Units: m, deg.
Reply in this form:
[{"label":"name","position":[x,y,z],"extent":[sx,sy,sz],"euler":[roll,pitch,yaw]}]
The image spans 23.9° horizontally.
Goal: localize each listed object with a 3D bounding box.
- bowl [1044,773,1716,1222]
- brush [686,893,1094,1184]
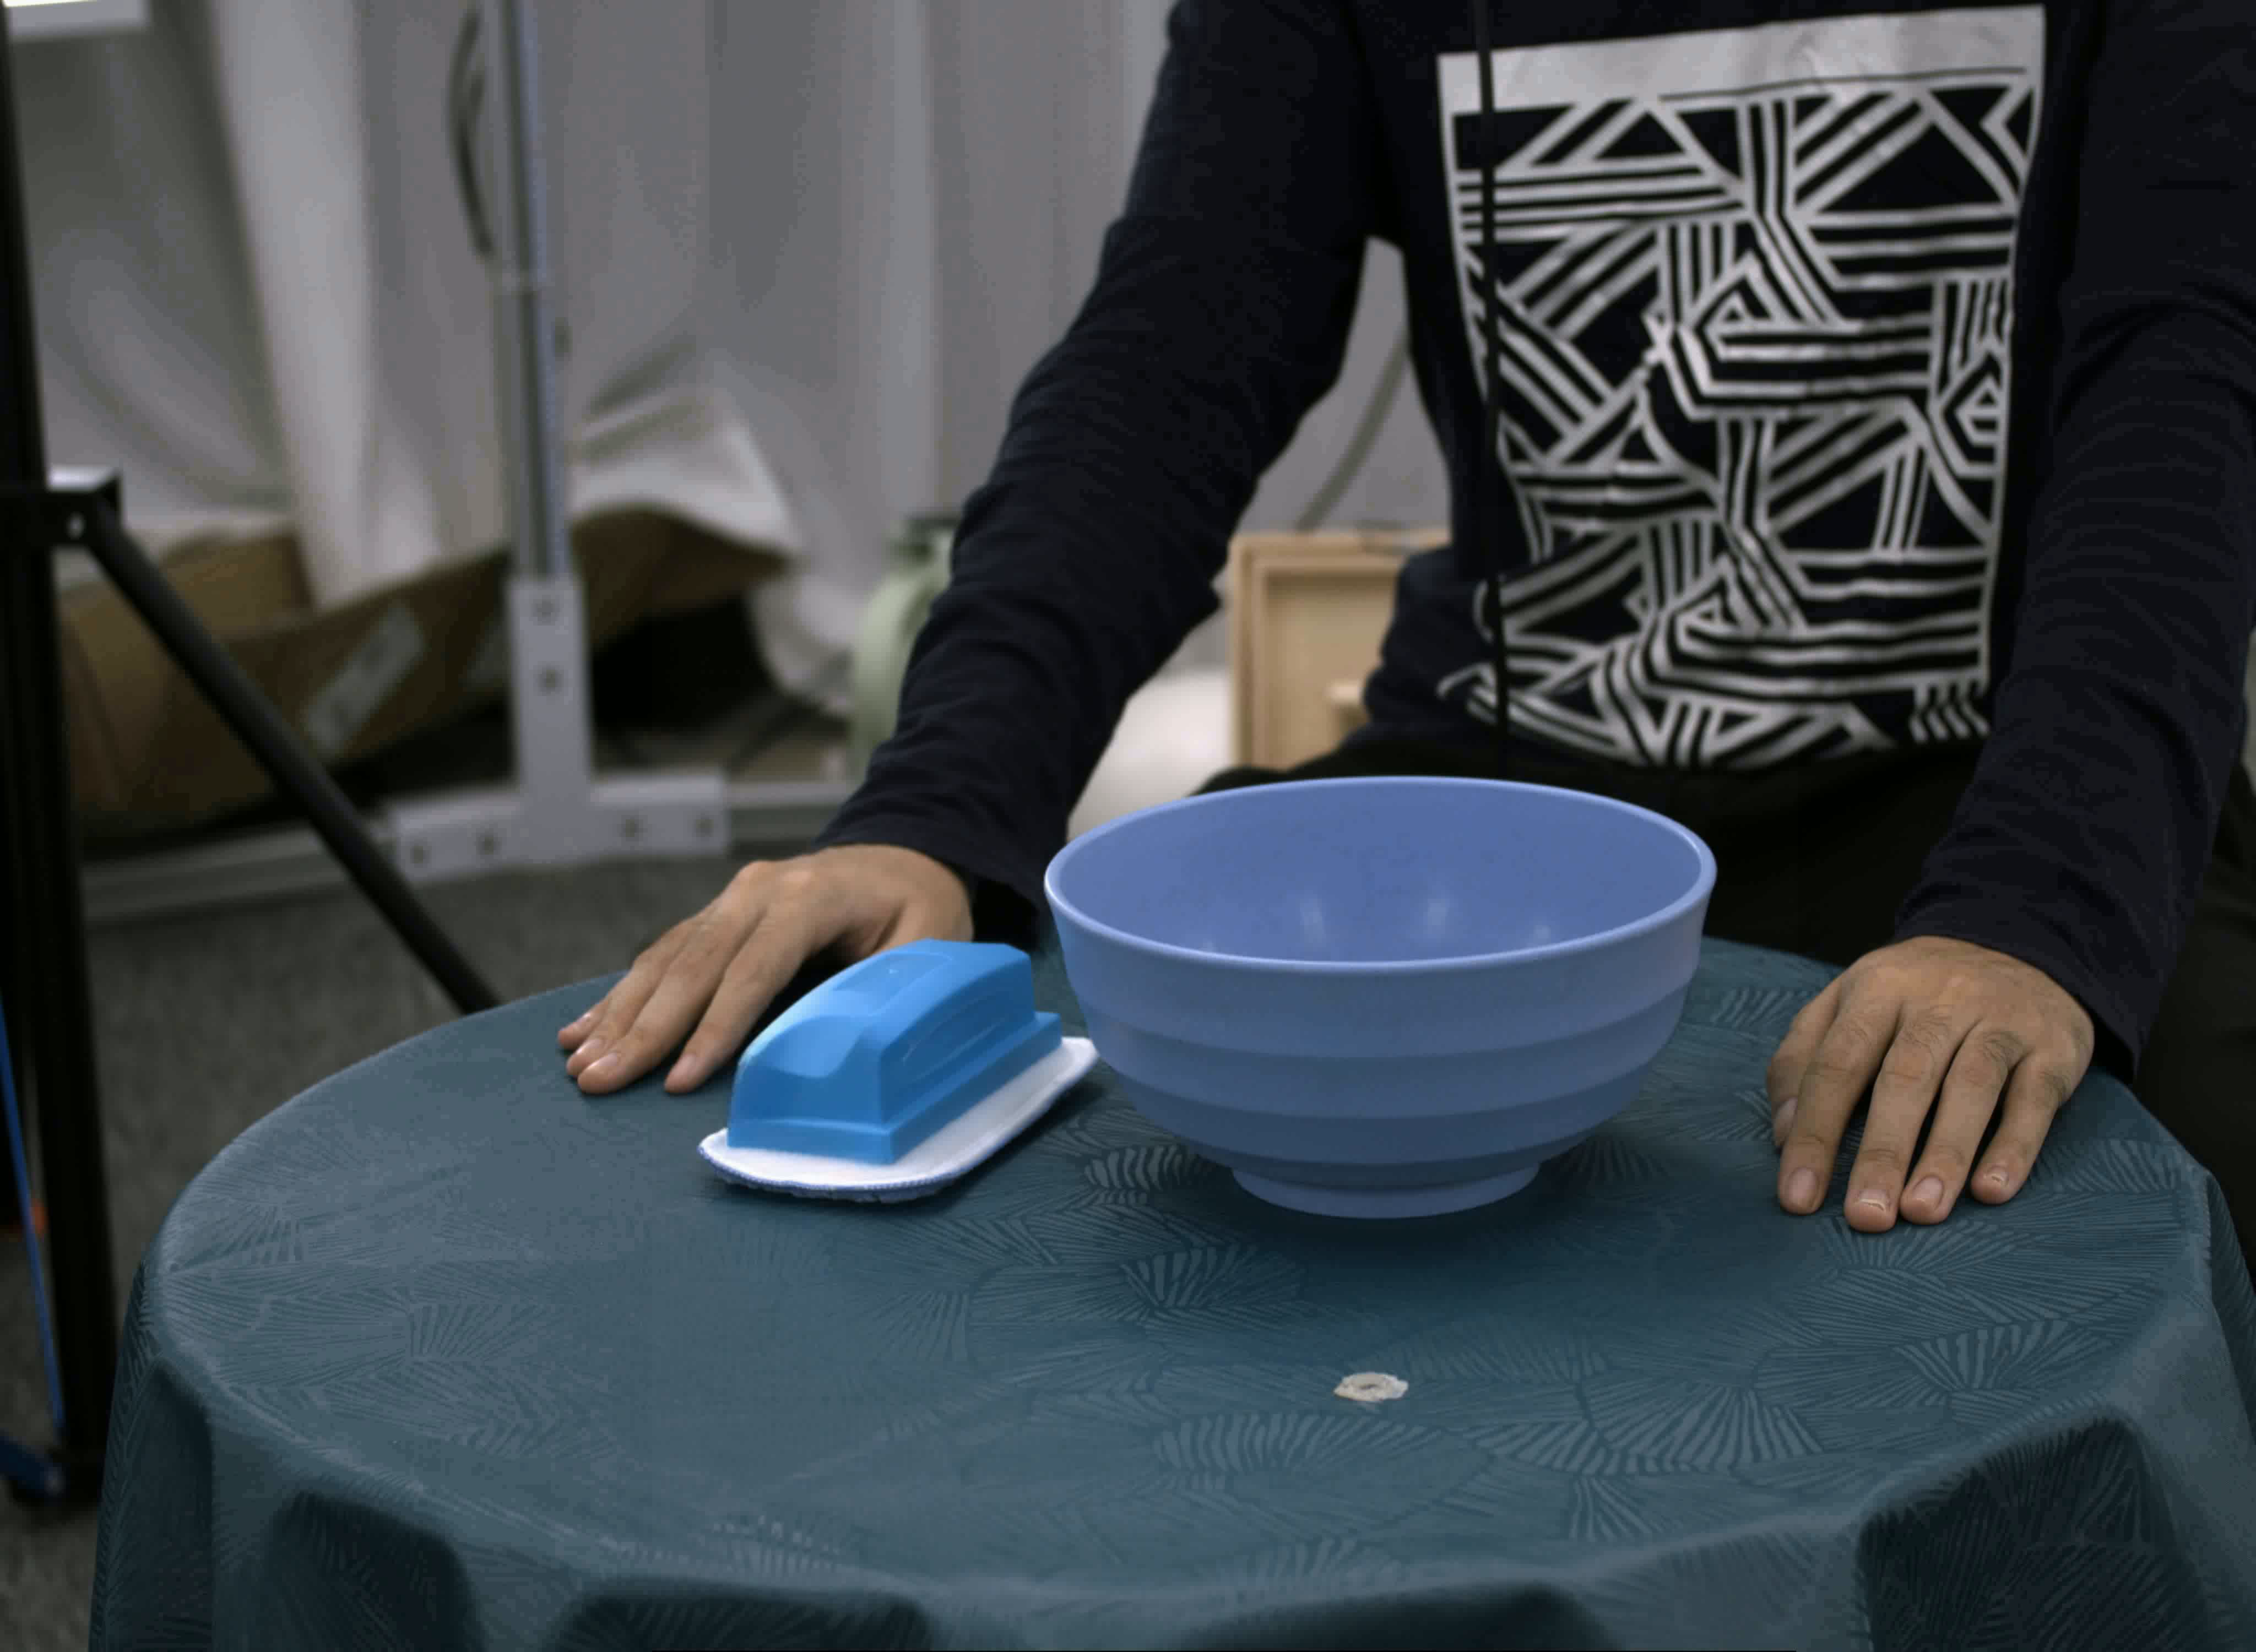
[{"label":"bowl","position":[0.075,0.056,1.560],"extent":[0.195,0.095,0.197],"euler":[-3,16,-1]},{"label":"brush","position":[-0.071,0.060,1.623],"extent":[0.085,0.056,0.142],"euler":[10,23,24]}]
